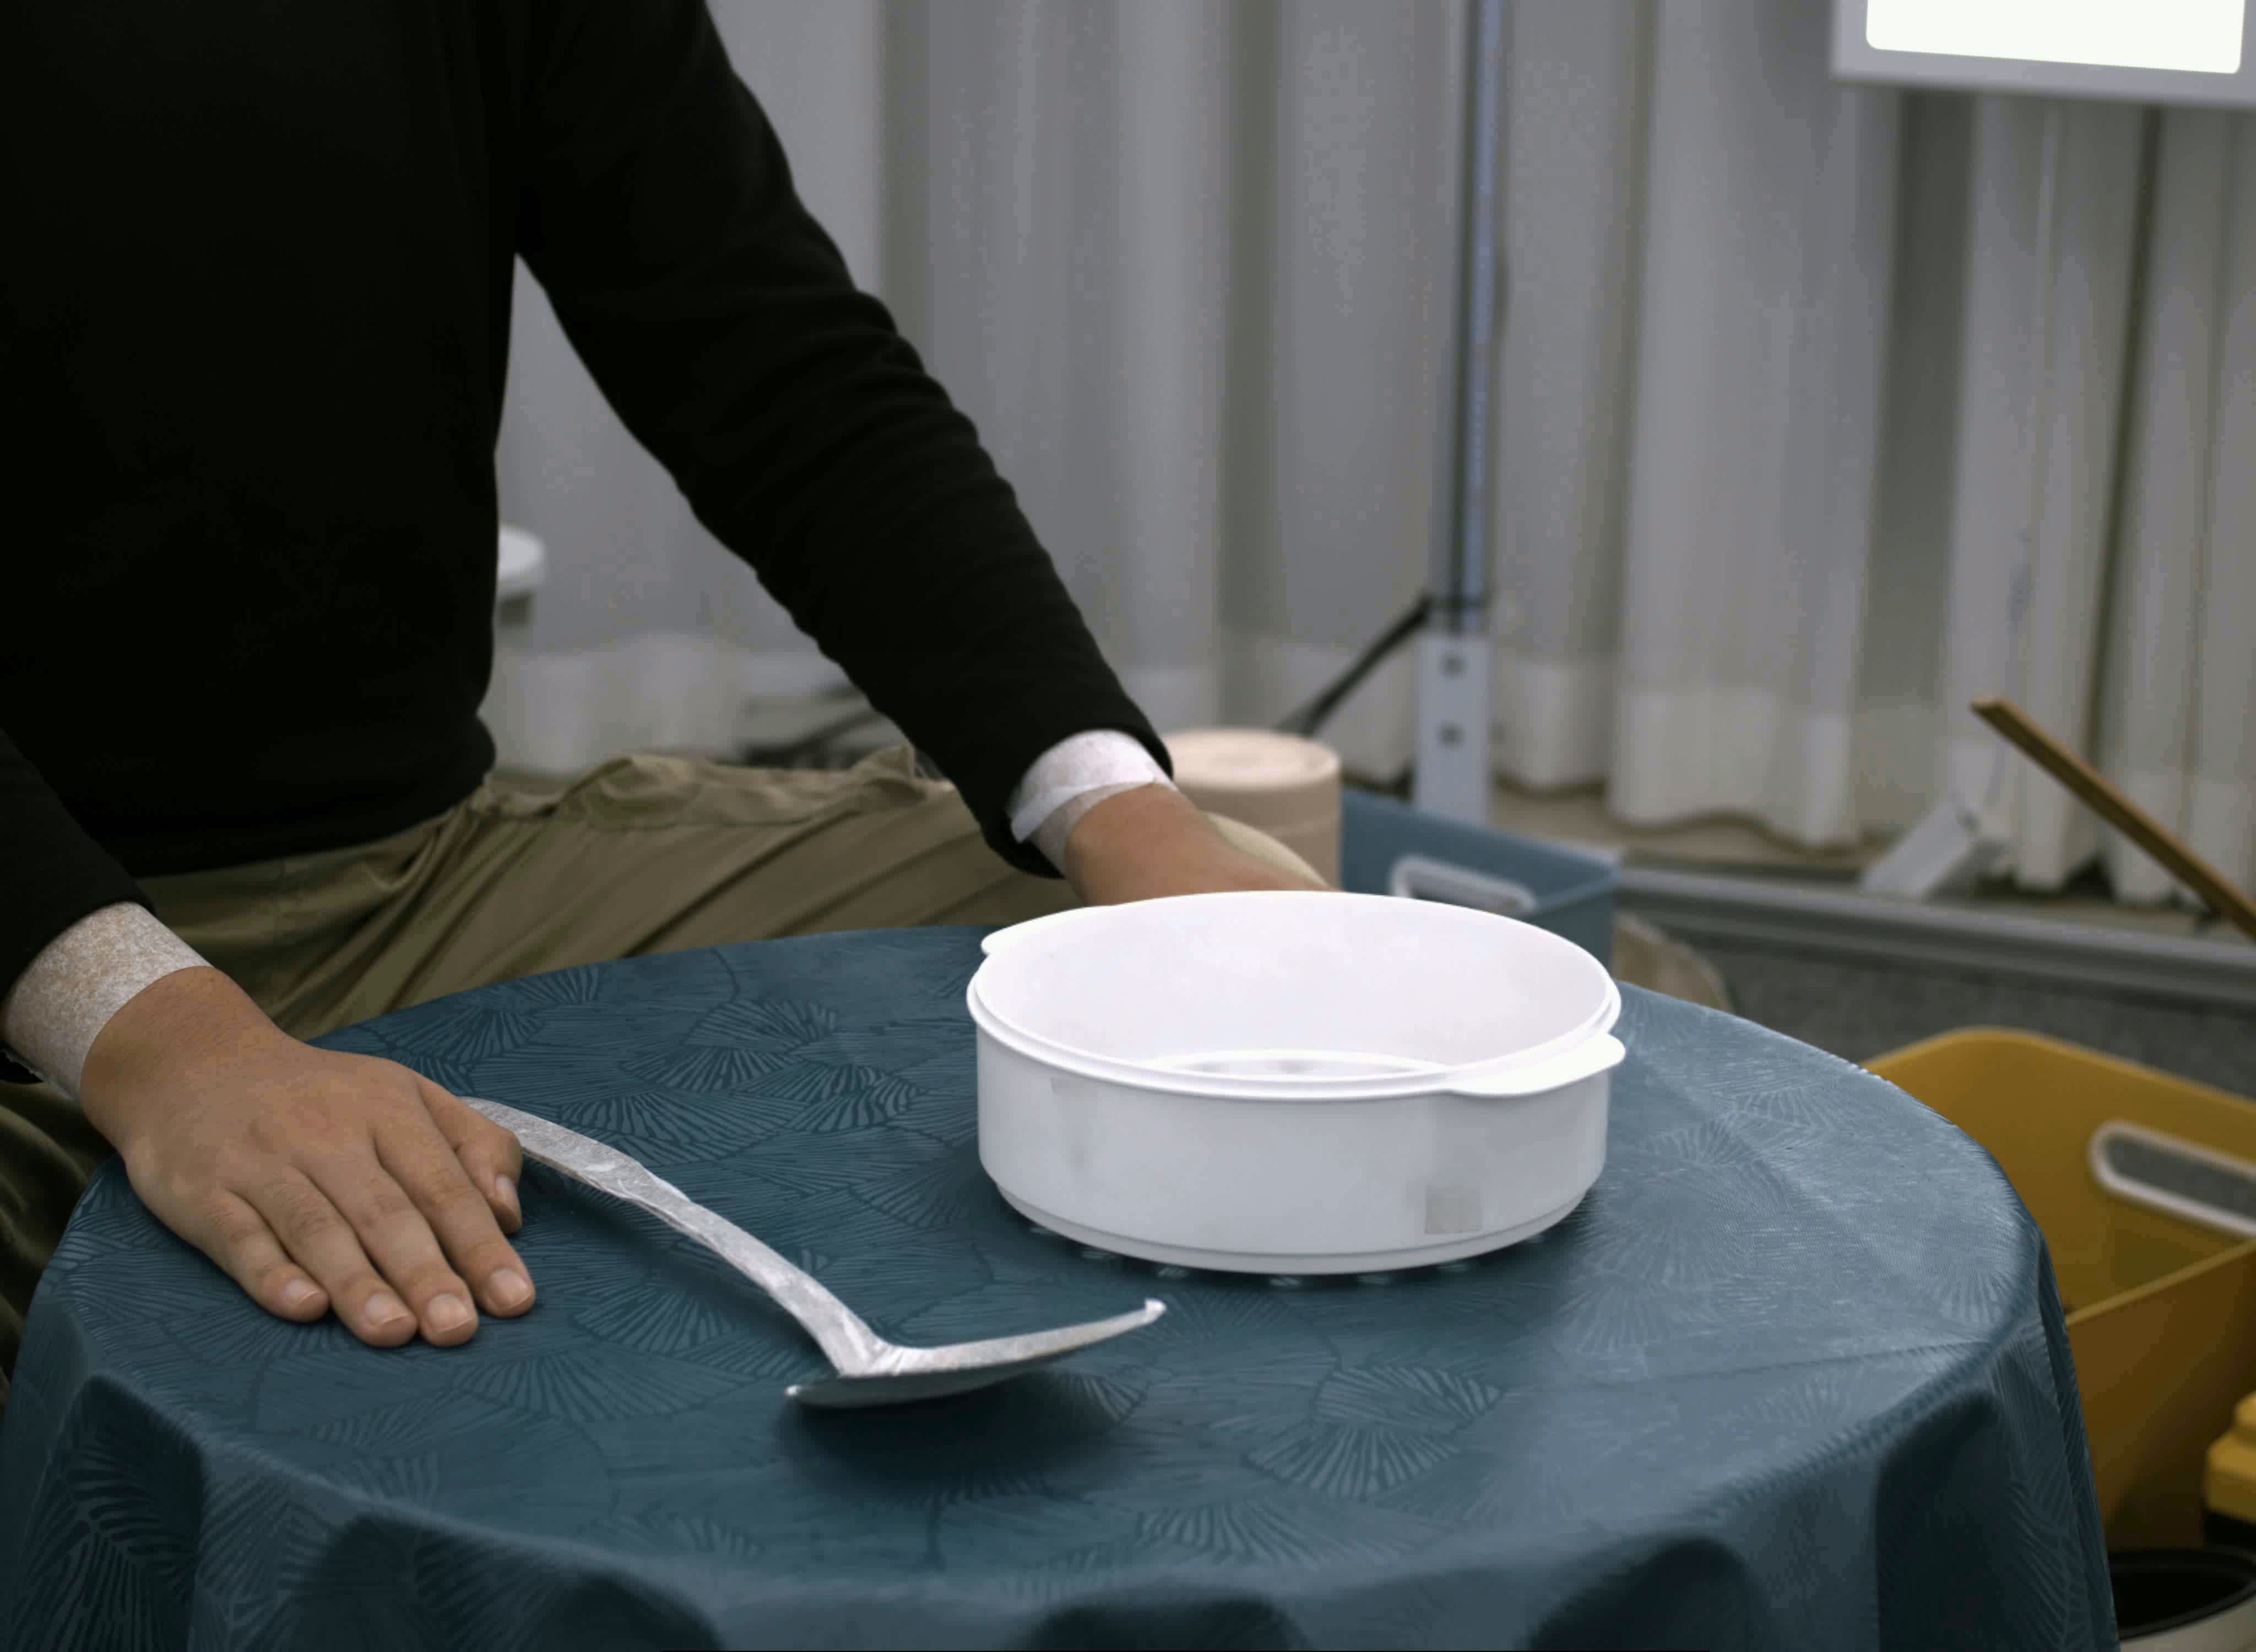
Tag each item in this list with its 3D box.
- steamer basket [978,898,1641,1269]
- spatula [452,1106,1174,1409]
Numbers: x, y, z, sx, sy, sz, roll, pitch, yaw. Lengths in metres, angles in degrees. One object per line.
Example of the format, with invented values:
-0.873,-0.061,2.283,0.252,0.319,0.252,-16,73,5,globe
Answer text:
0.054,0.078,1.613,0.227,0.070,0.203,14,20,42,steamer basket
-0.117,0.116,1.535,0.099,0.045,0.360,-12,20,-32,spatula
